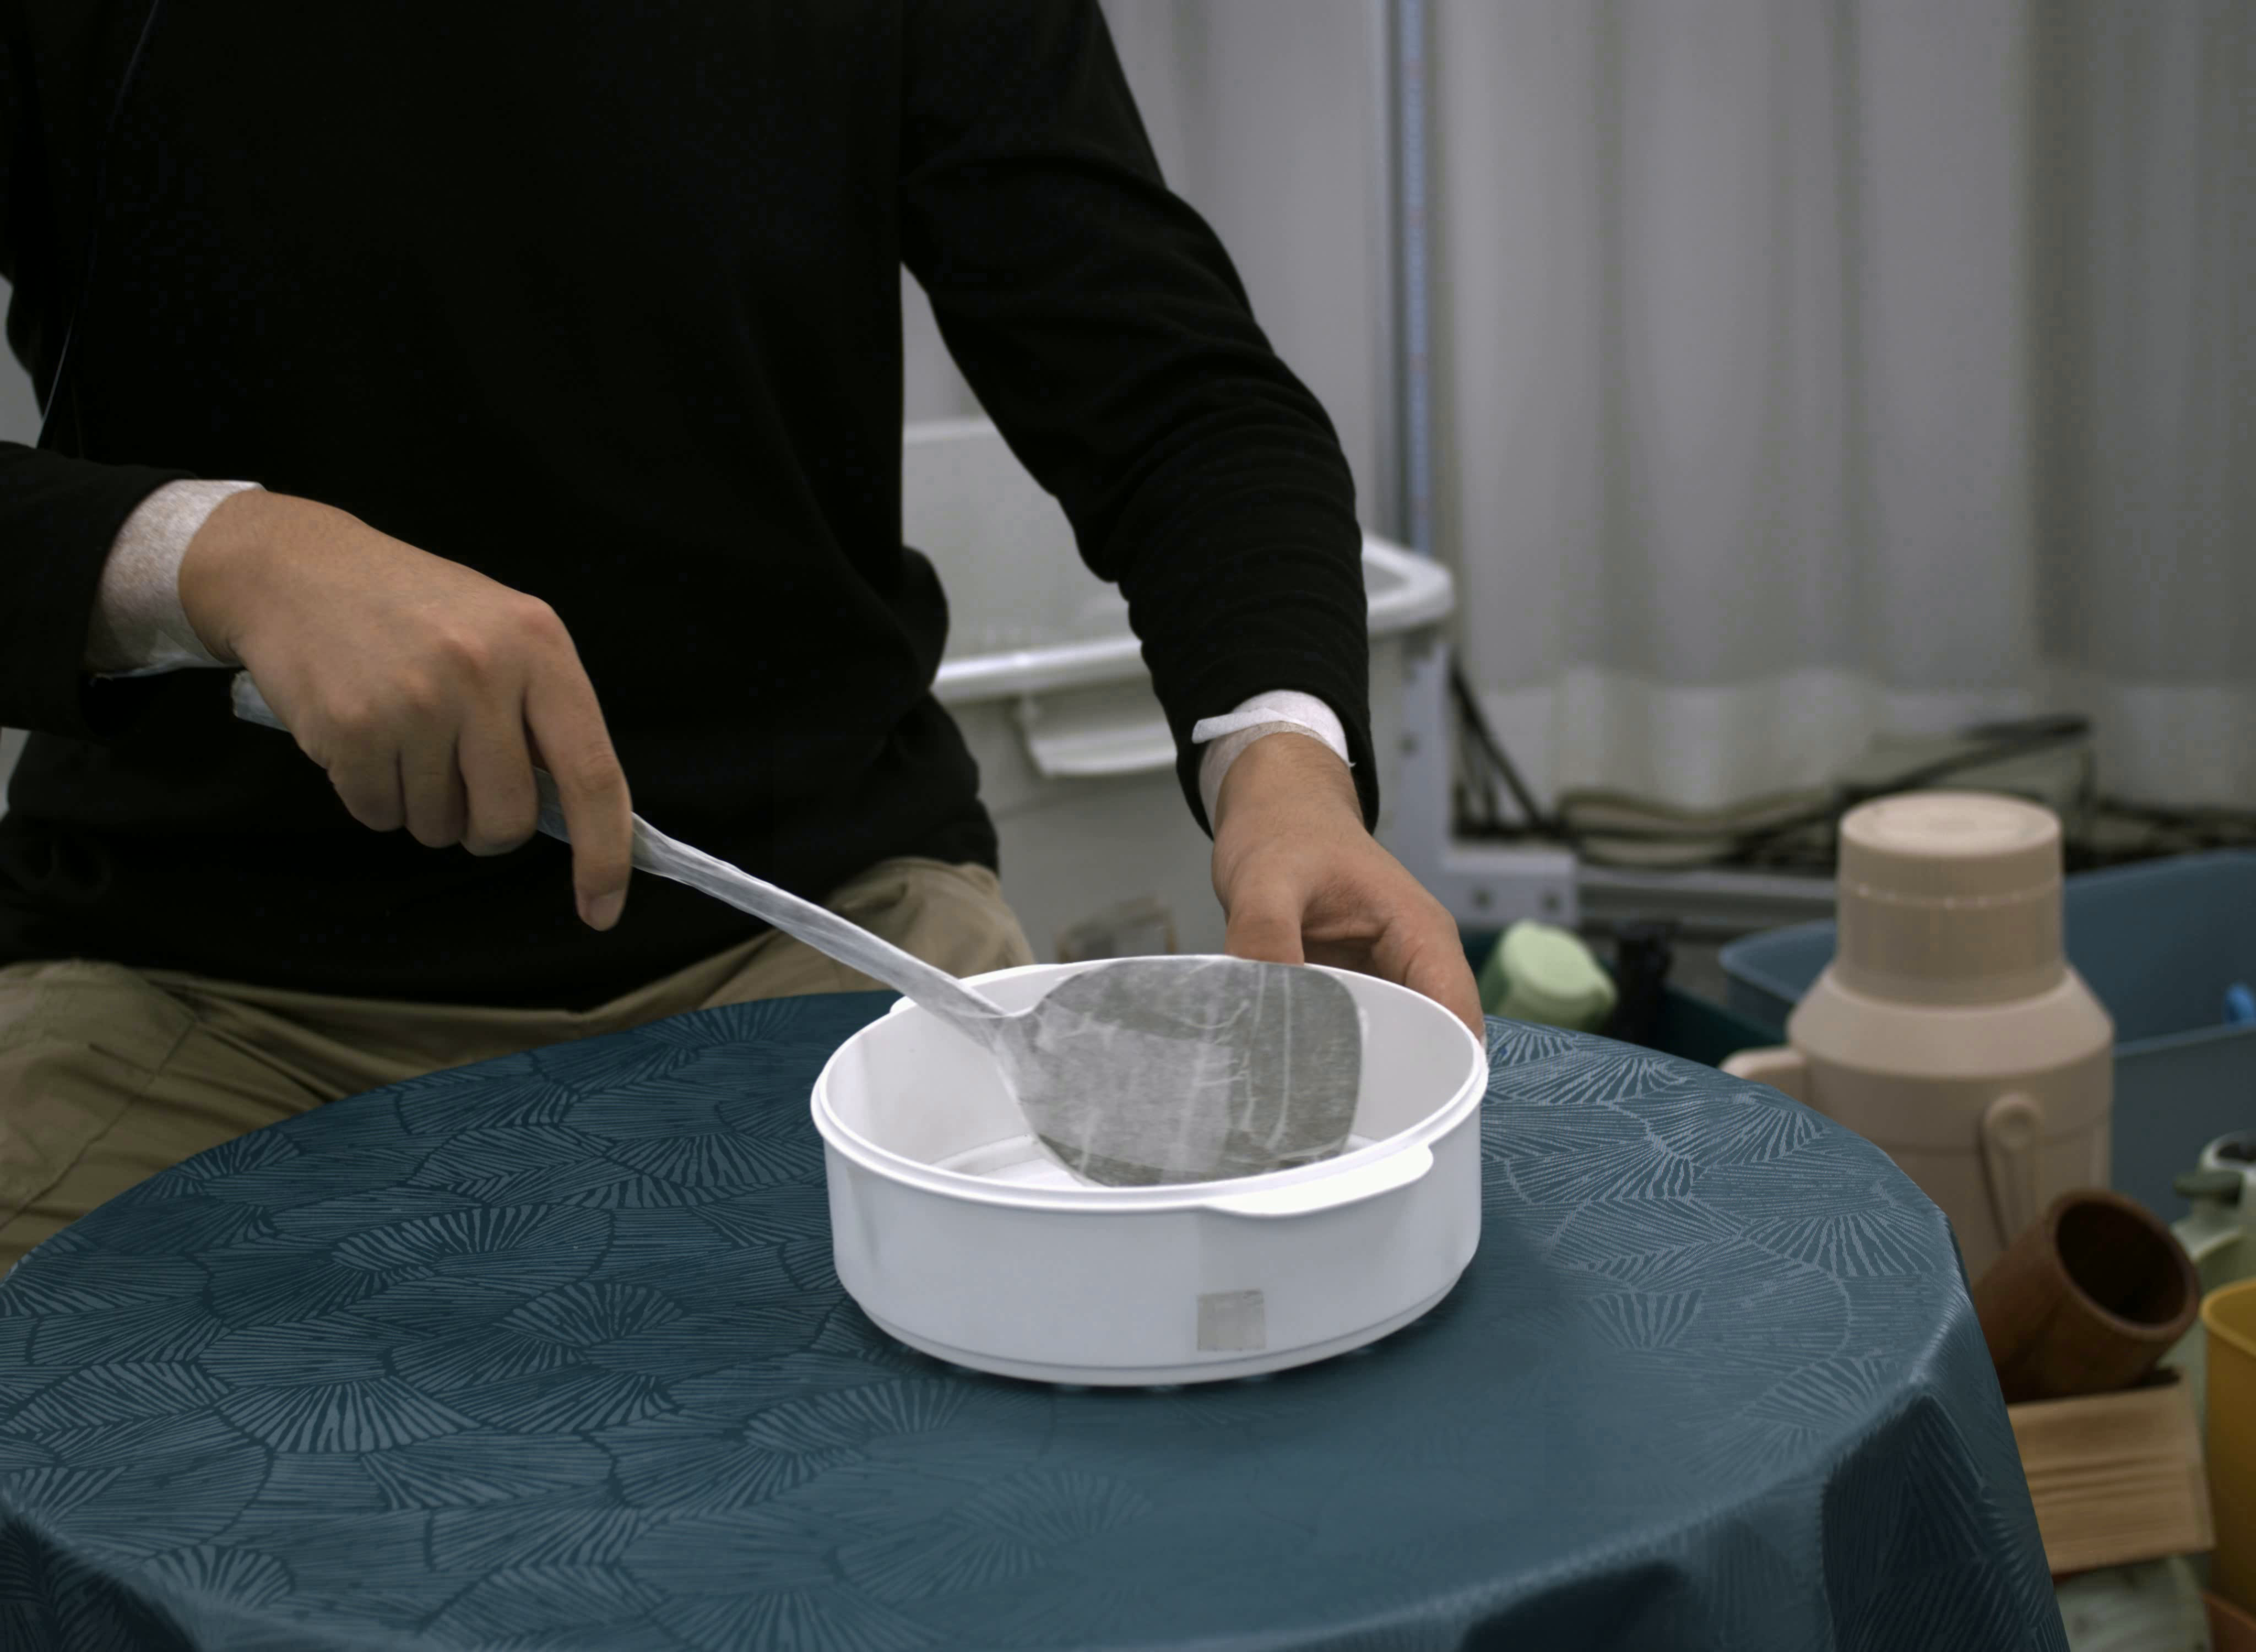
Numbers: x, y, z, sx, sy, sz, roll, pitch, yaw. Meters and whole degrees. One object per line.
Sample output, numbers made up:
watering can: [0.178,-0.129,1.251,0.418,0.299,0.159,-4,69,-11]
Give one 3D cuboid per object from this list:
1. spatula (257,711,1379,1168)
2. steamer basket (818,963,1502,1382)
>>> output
spatula: [-0.098,0.027,1.649,0.366,0.097,0.045,23,38,17]
steamer basket: [0.011,0.102,1.613,0.201,0.069,0.232,-11,19,-27]
